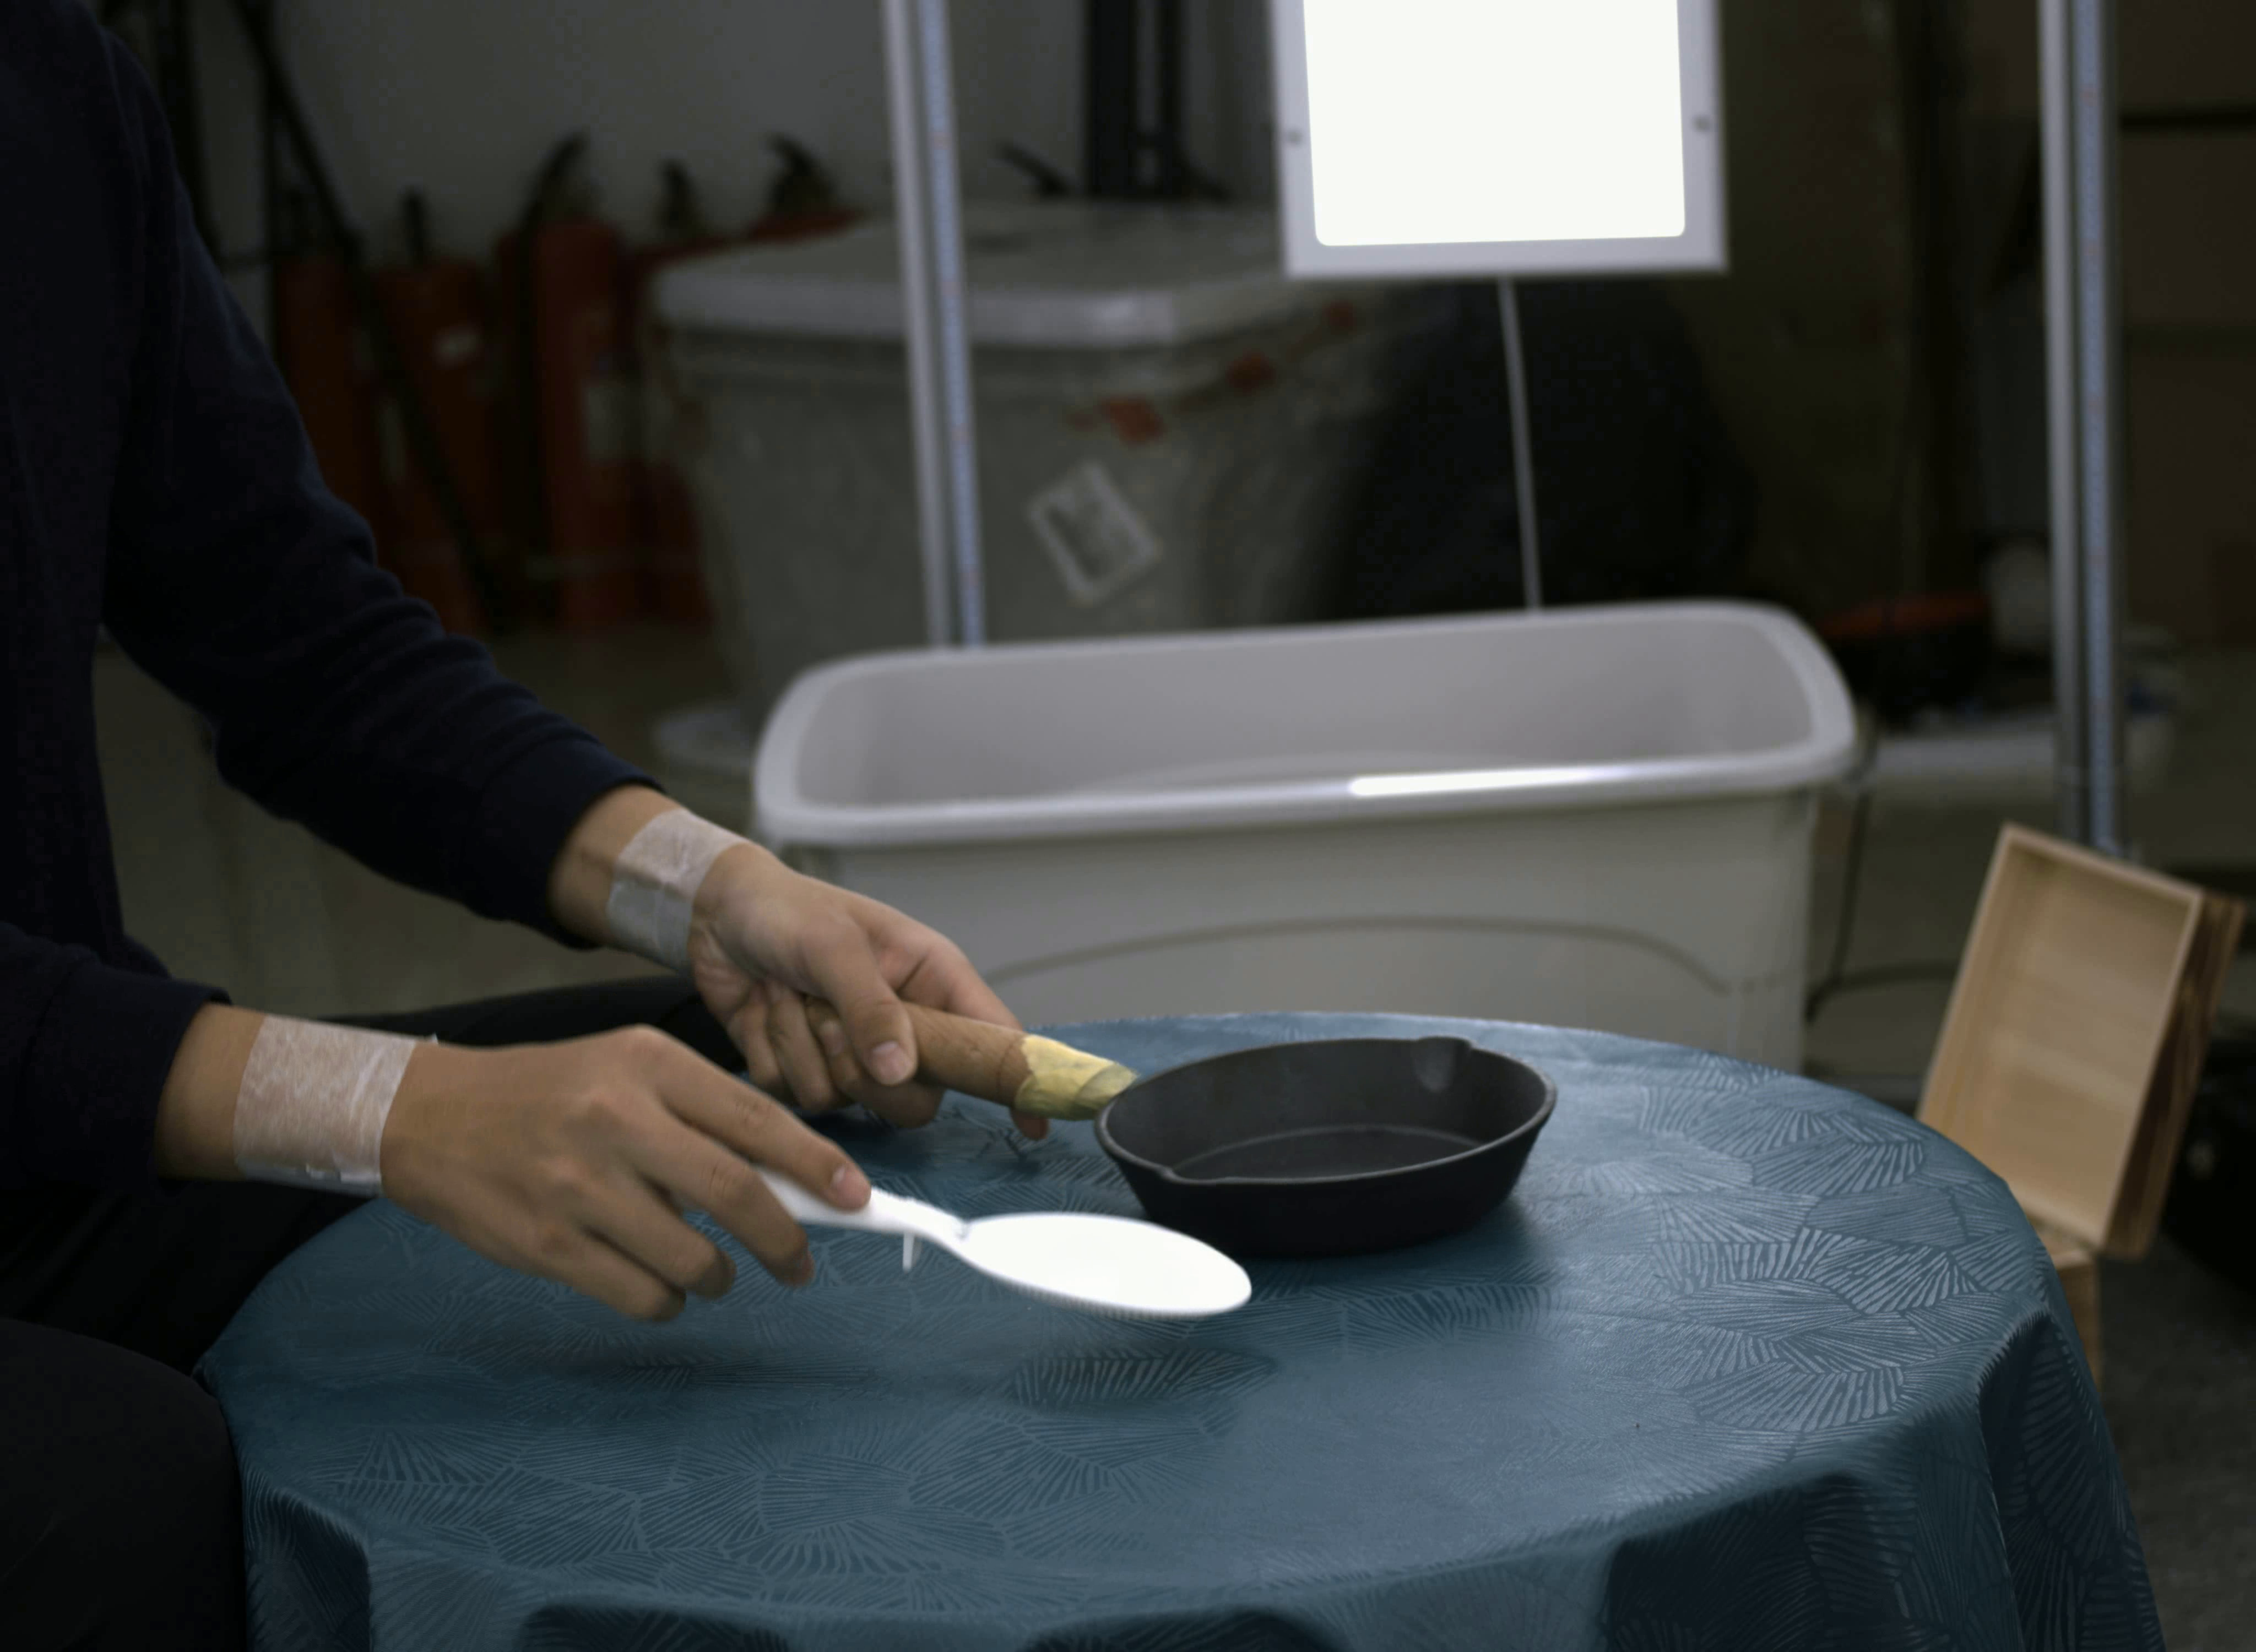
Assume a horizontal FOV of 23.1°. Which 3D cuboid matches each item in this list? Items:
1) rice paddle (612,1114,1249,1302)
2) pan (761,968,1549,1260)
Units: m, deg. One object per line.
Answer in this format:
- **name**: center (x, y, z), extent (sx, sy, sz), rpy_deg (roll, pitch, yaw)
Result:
- **rice paddle**: center (-0.061, 0.122, 1.738), extent (0.206, 0.029, 0.068), rpy_deg (9, 20, 12)
- **pan**: center (-0.001, 0.094, 1.915), extent (0.331, 0.050, 0.165), rpy_deg (8, 21, 39)
